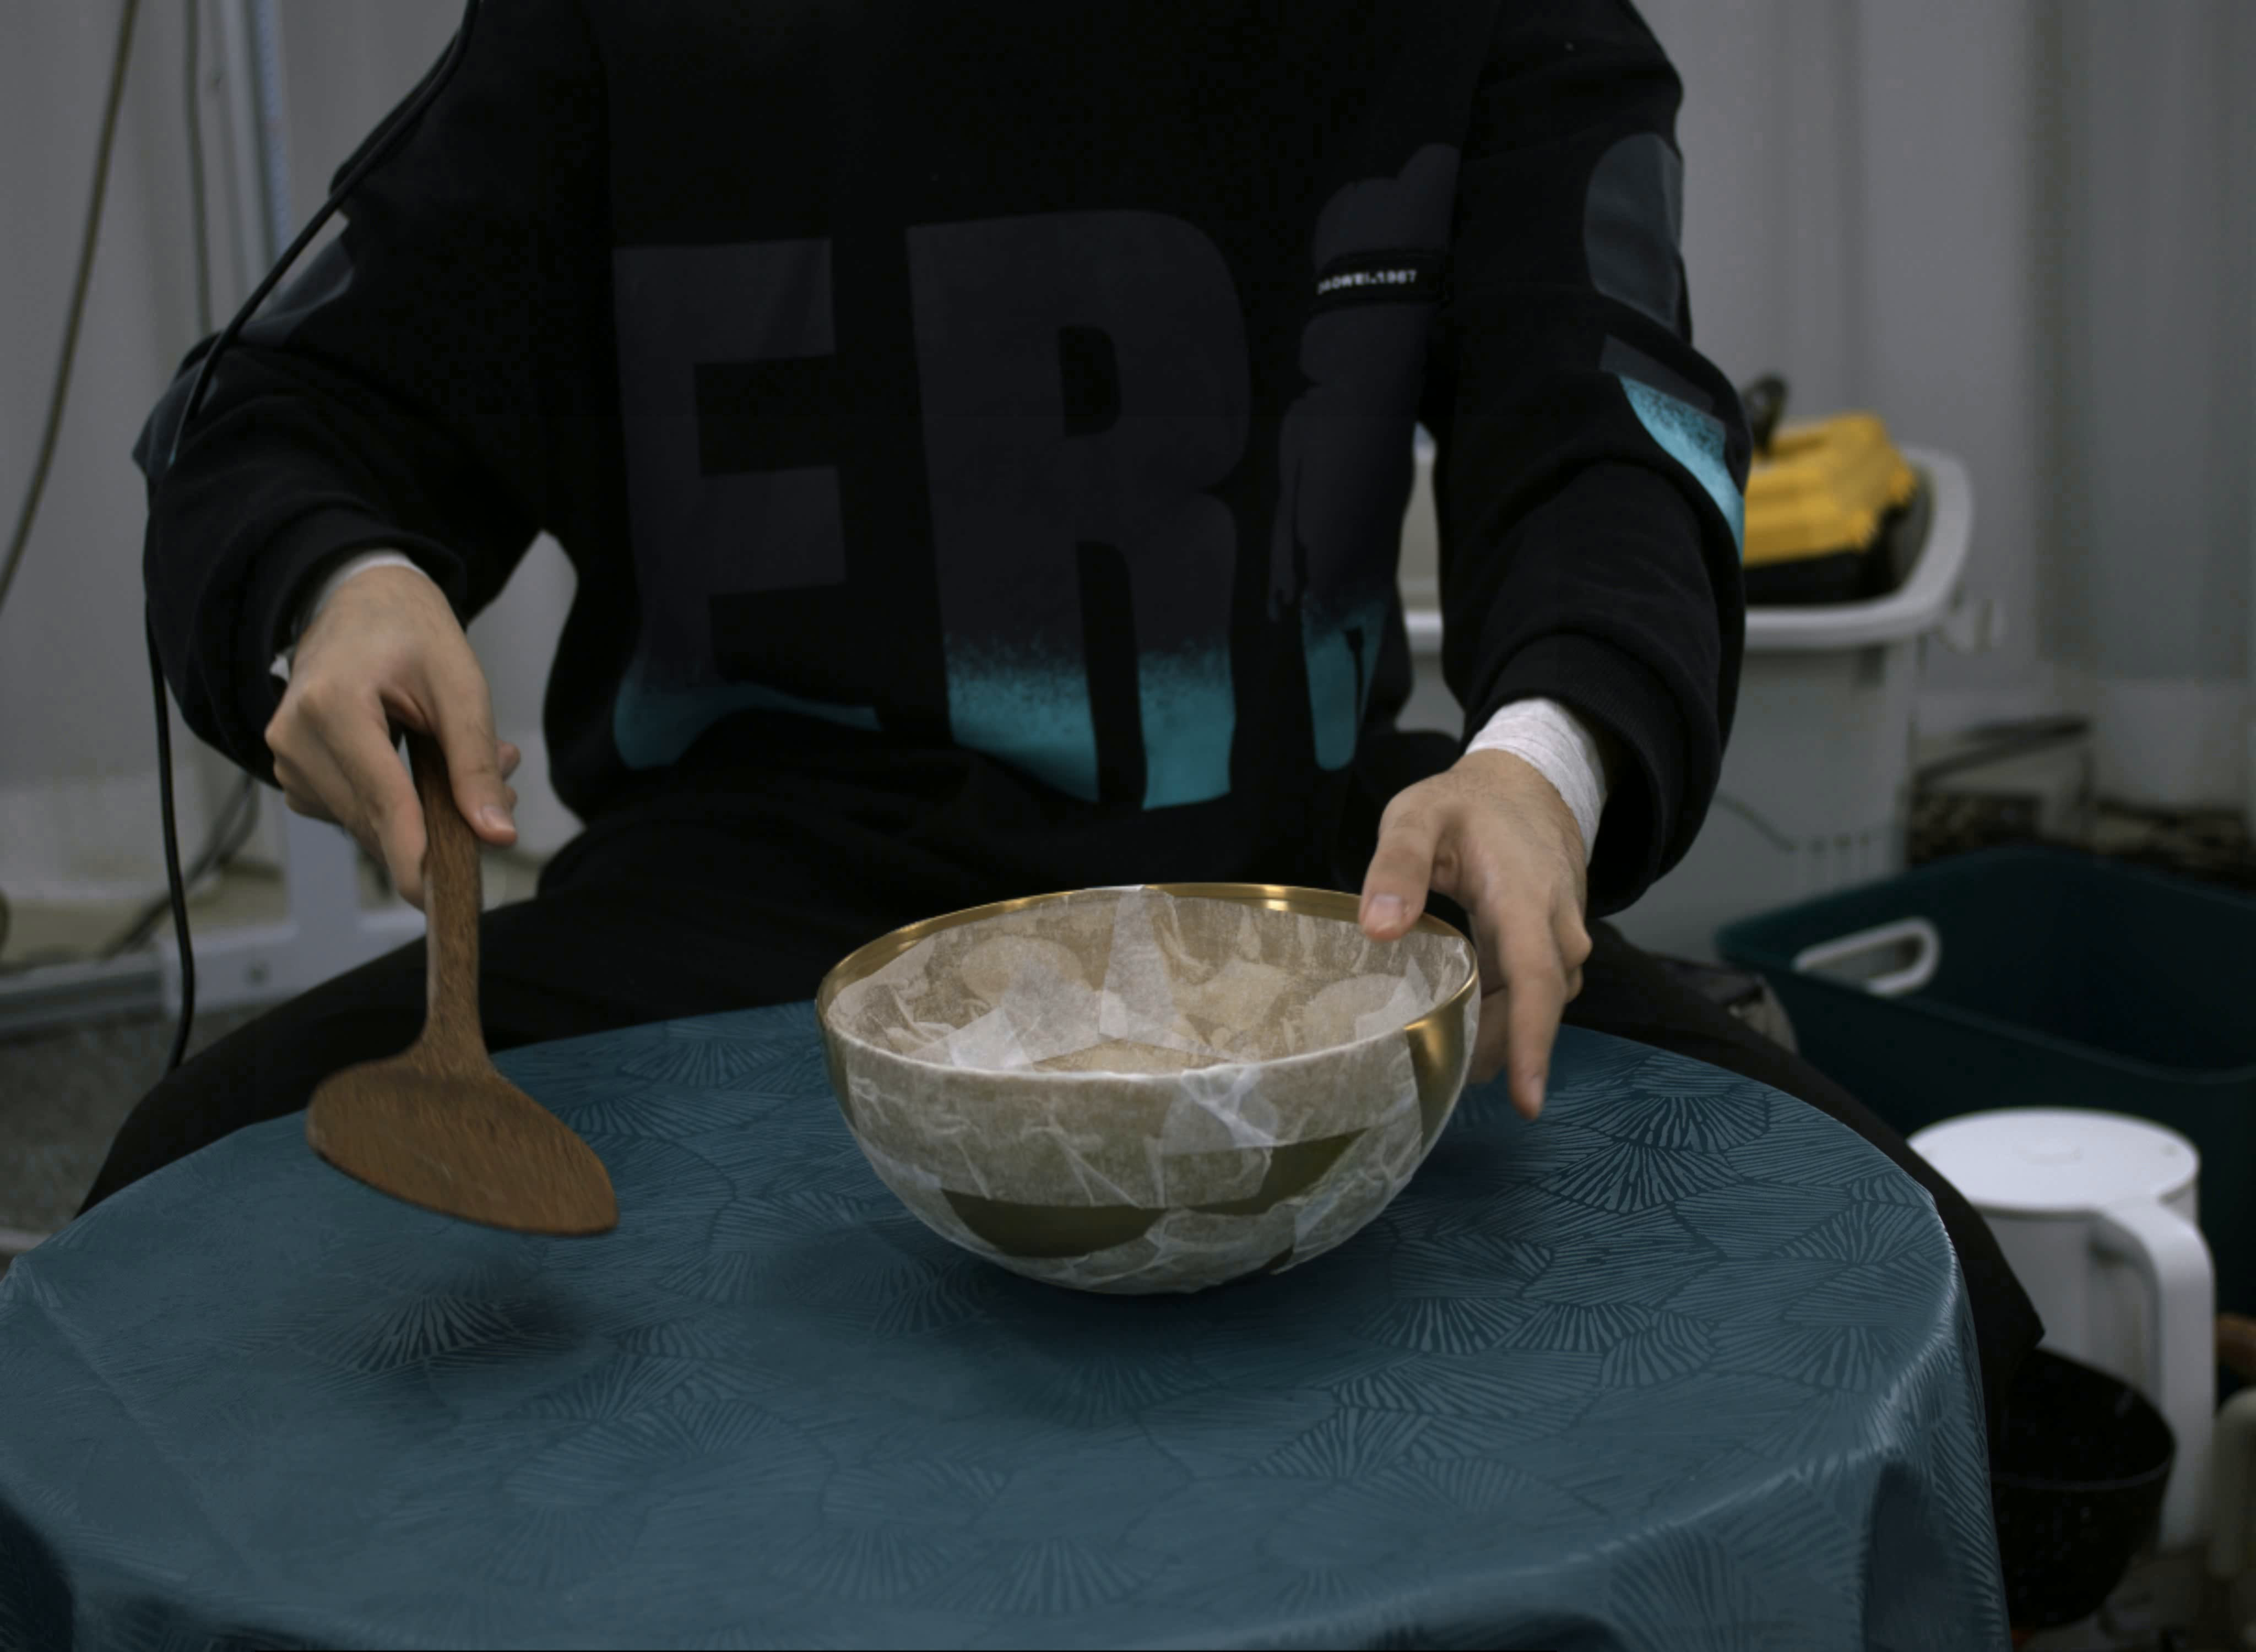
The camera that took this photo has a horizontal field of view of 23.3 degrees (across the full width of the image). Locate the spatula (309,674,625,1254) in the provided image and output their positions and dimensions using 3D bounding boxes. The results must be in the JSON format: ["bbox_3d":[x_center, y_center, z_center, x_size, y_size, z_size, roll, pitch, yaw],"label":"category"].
[{"bbox_3d":[-0.214,0.034,1.743,0.095,0.015,0.391,15,23,-15],"label":"spatula"}]

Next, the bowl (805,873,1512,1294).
[{"bbox_3d":[0.011,0.085,1.642,0.214,0.094,0.216,-4,14,1],"label":"bowl"}]
